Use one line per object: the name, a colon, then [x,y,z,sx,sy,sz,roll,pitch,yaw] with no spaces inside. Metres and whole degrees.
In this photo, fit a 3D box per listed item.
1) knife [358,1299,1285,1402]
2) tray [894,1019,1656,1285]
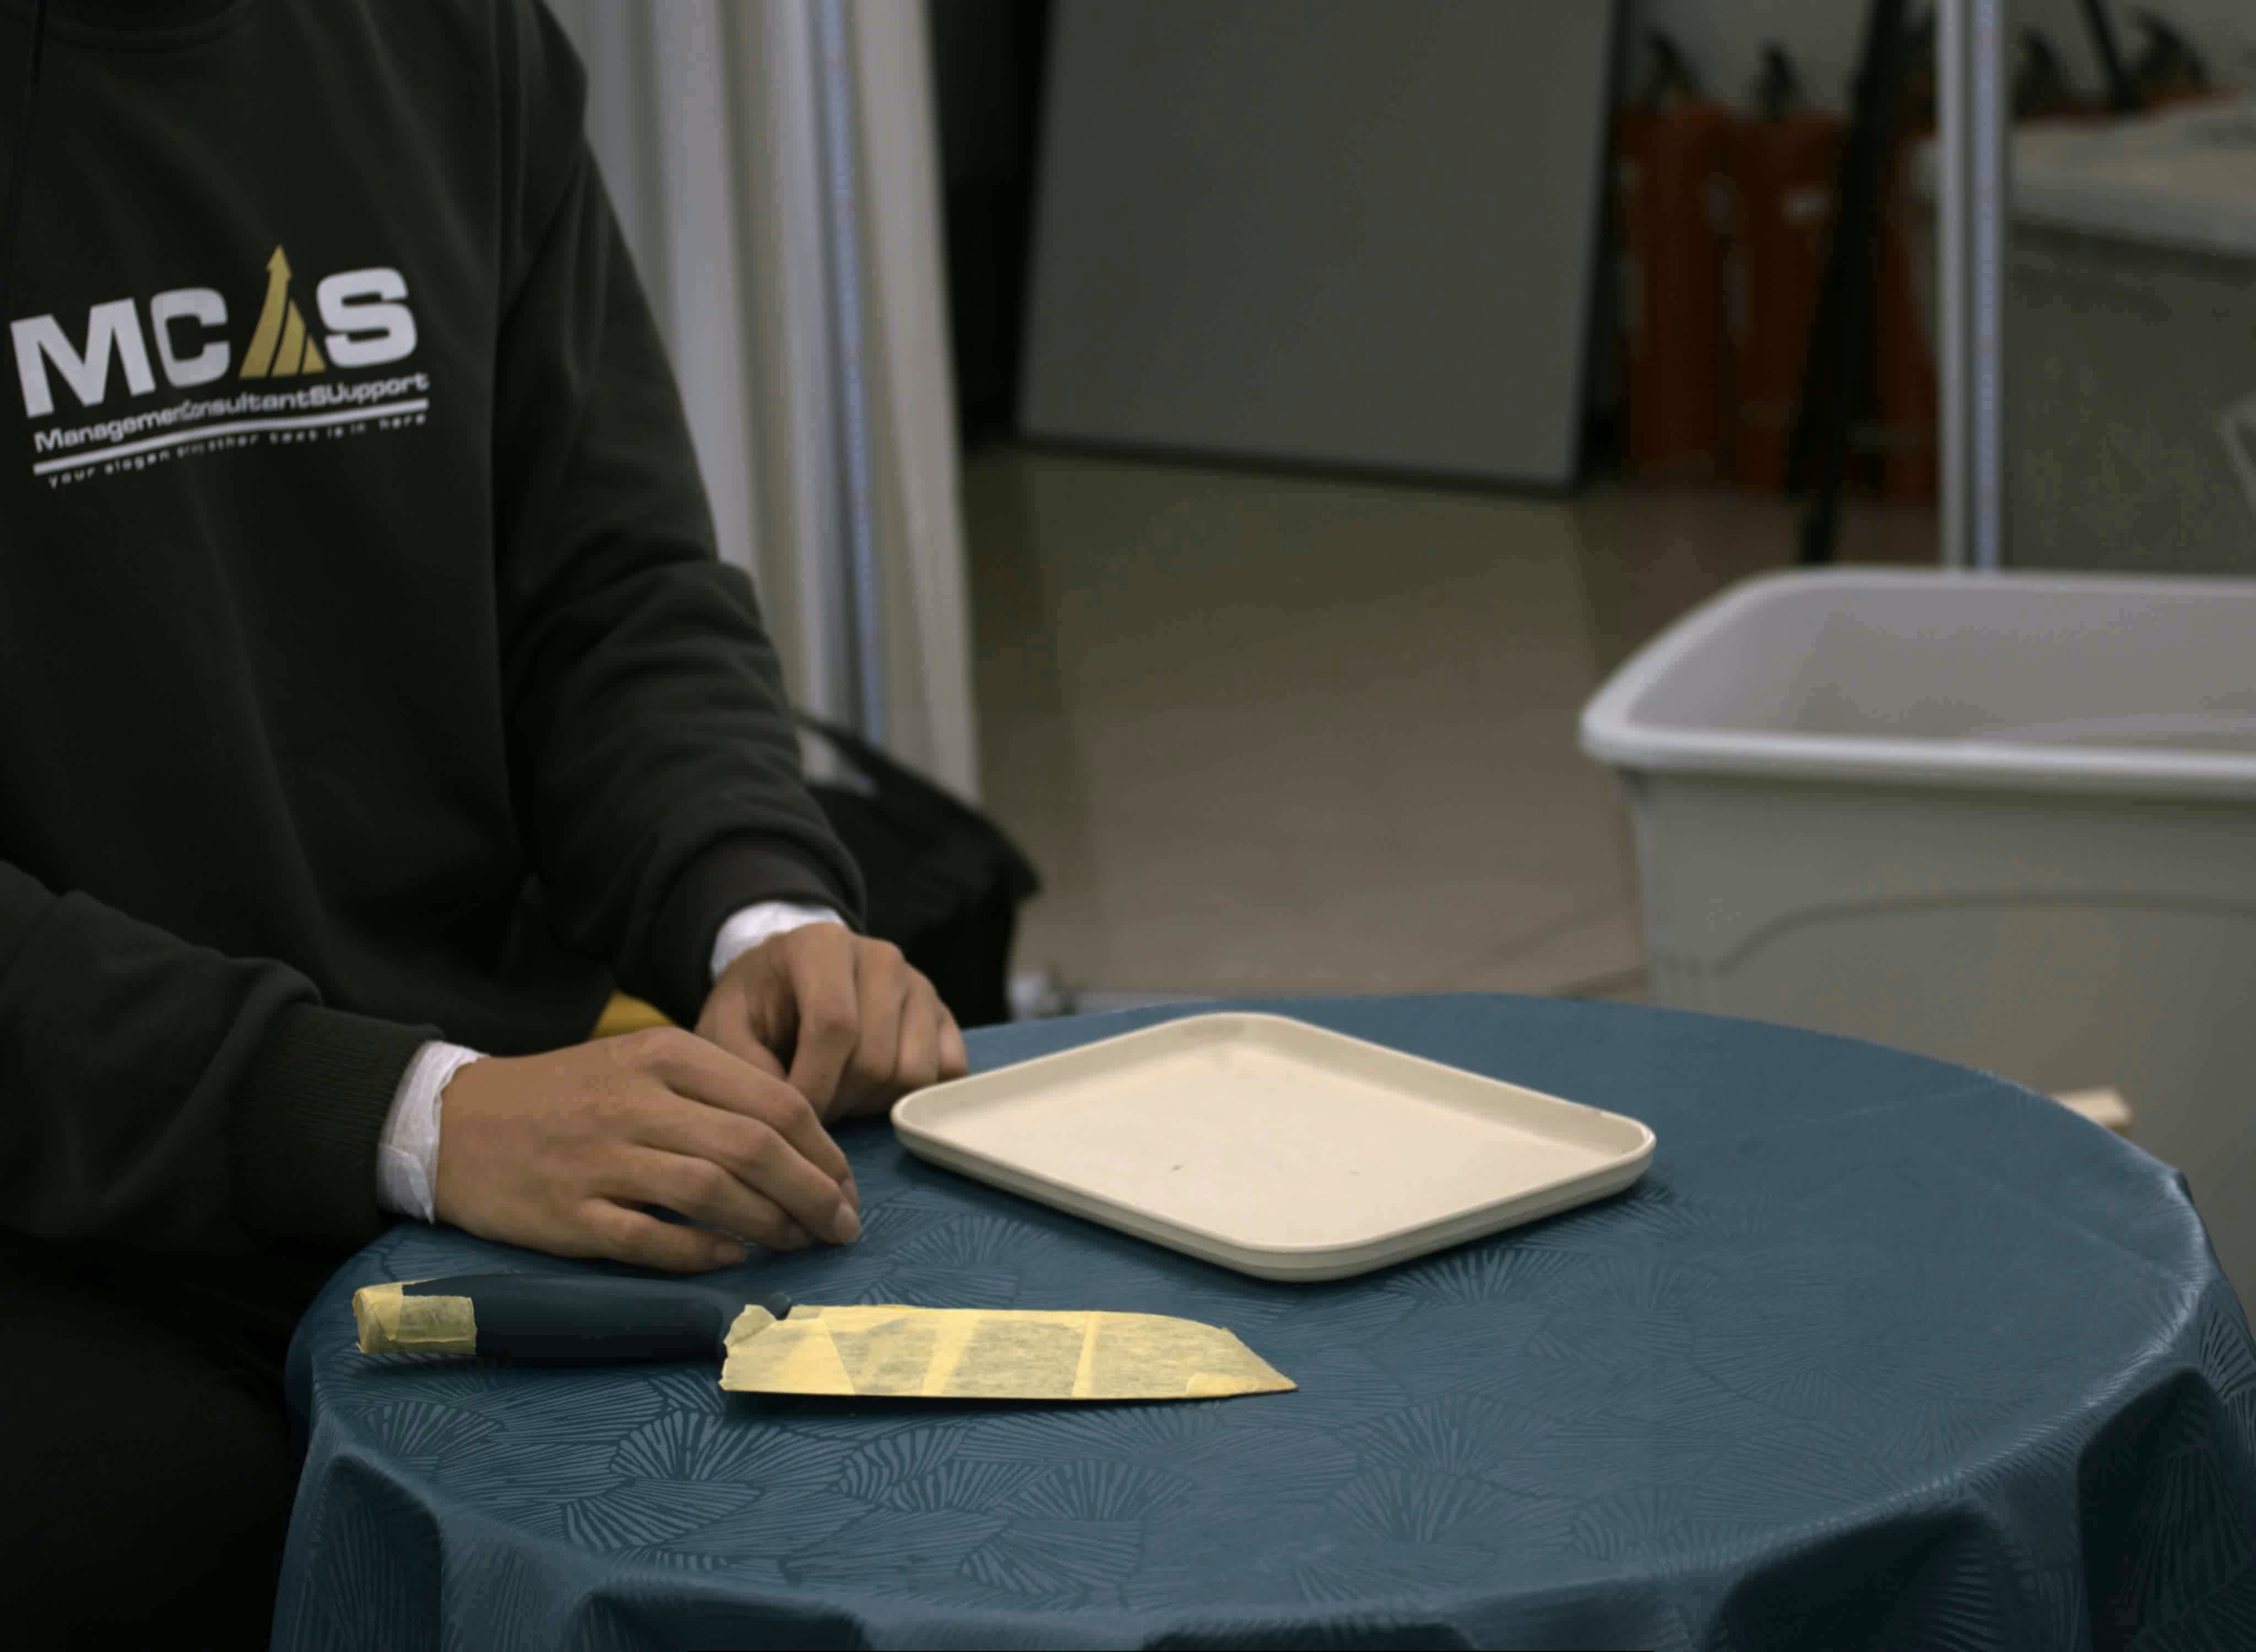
knife: [-0.094,0.159,1.616,0.287,0.027,0.081,-1,12,9]
tray: [0.047,0.107,1.785,0.167,0.017,0.242,-14,17,-34]
